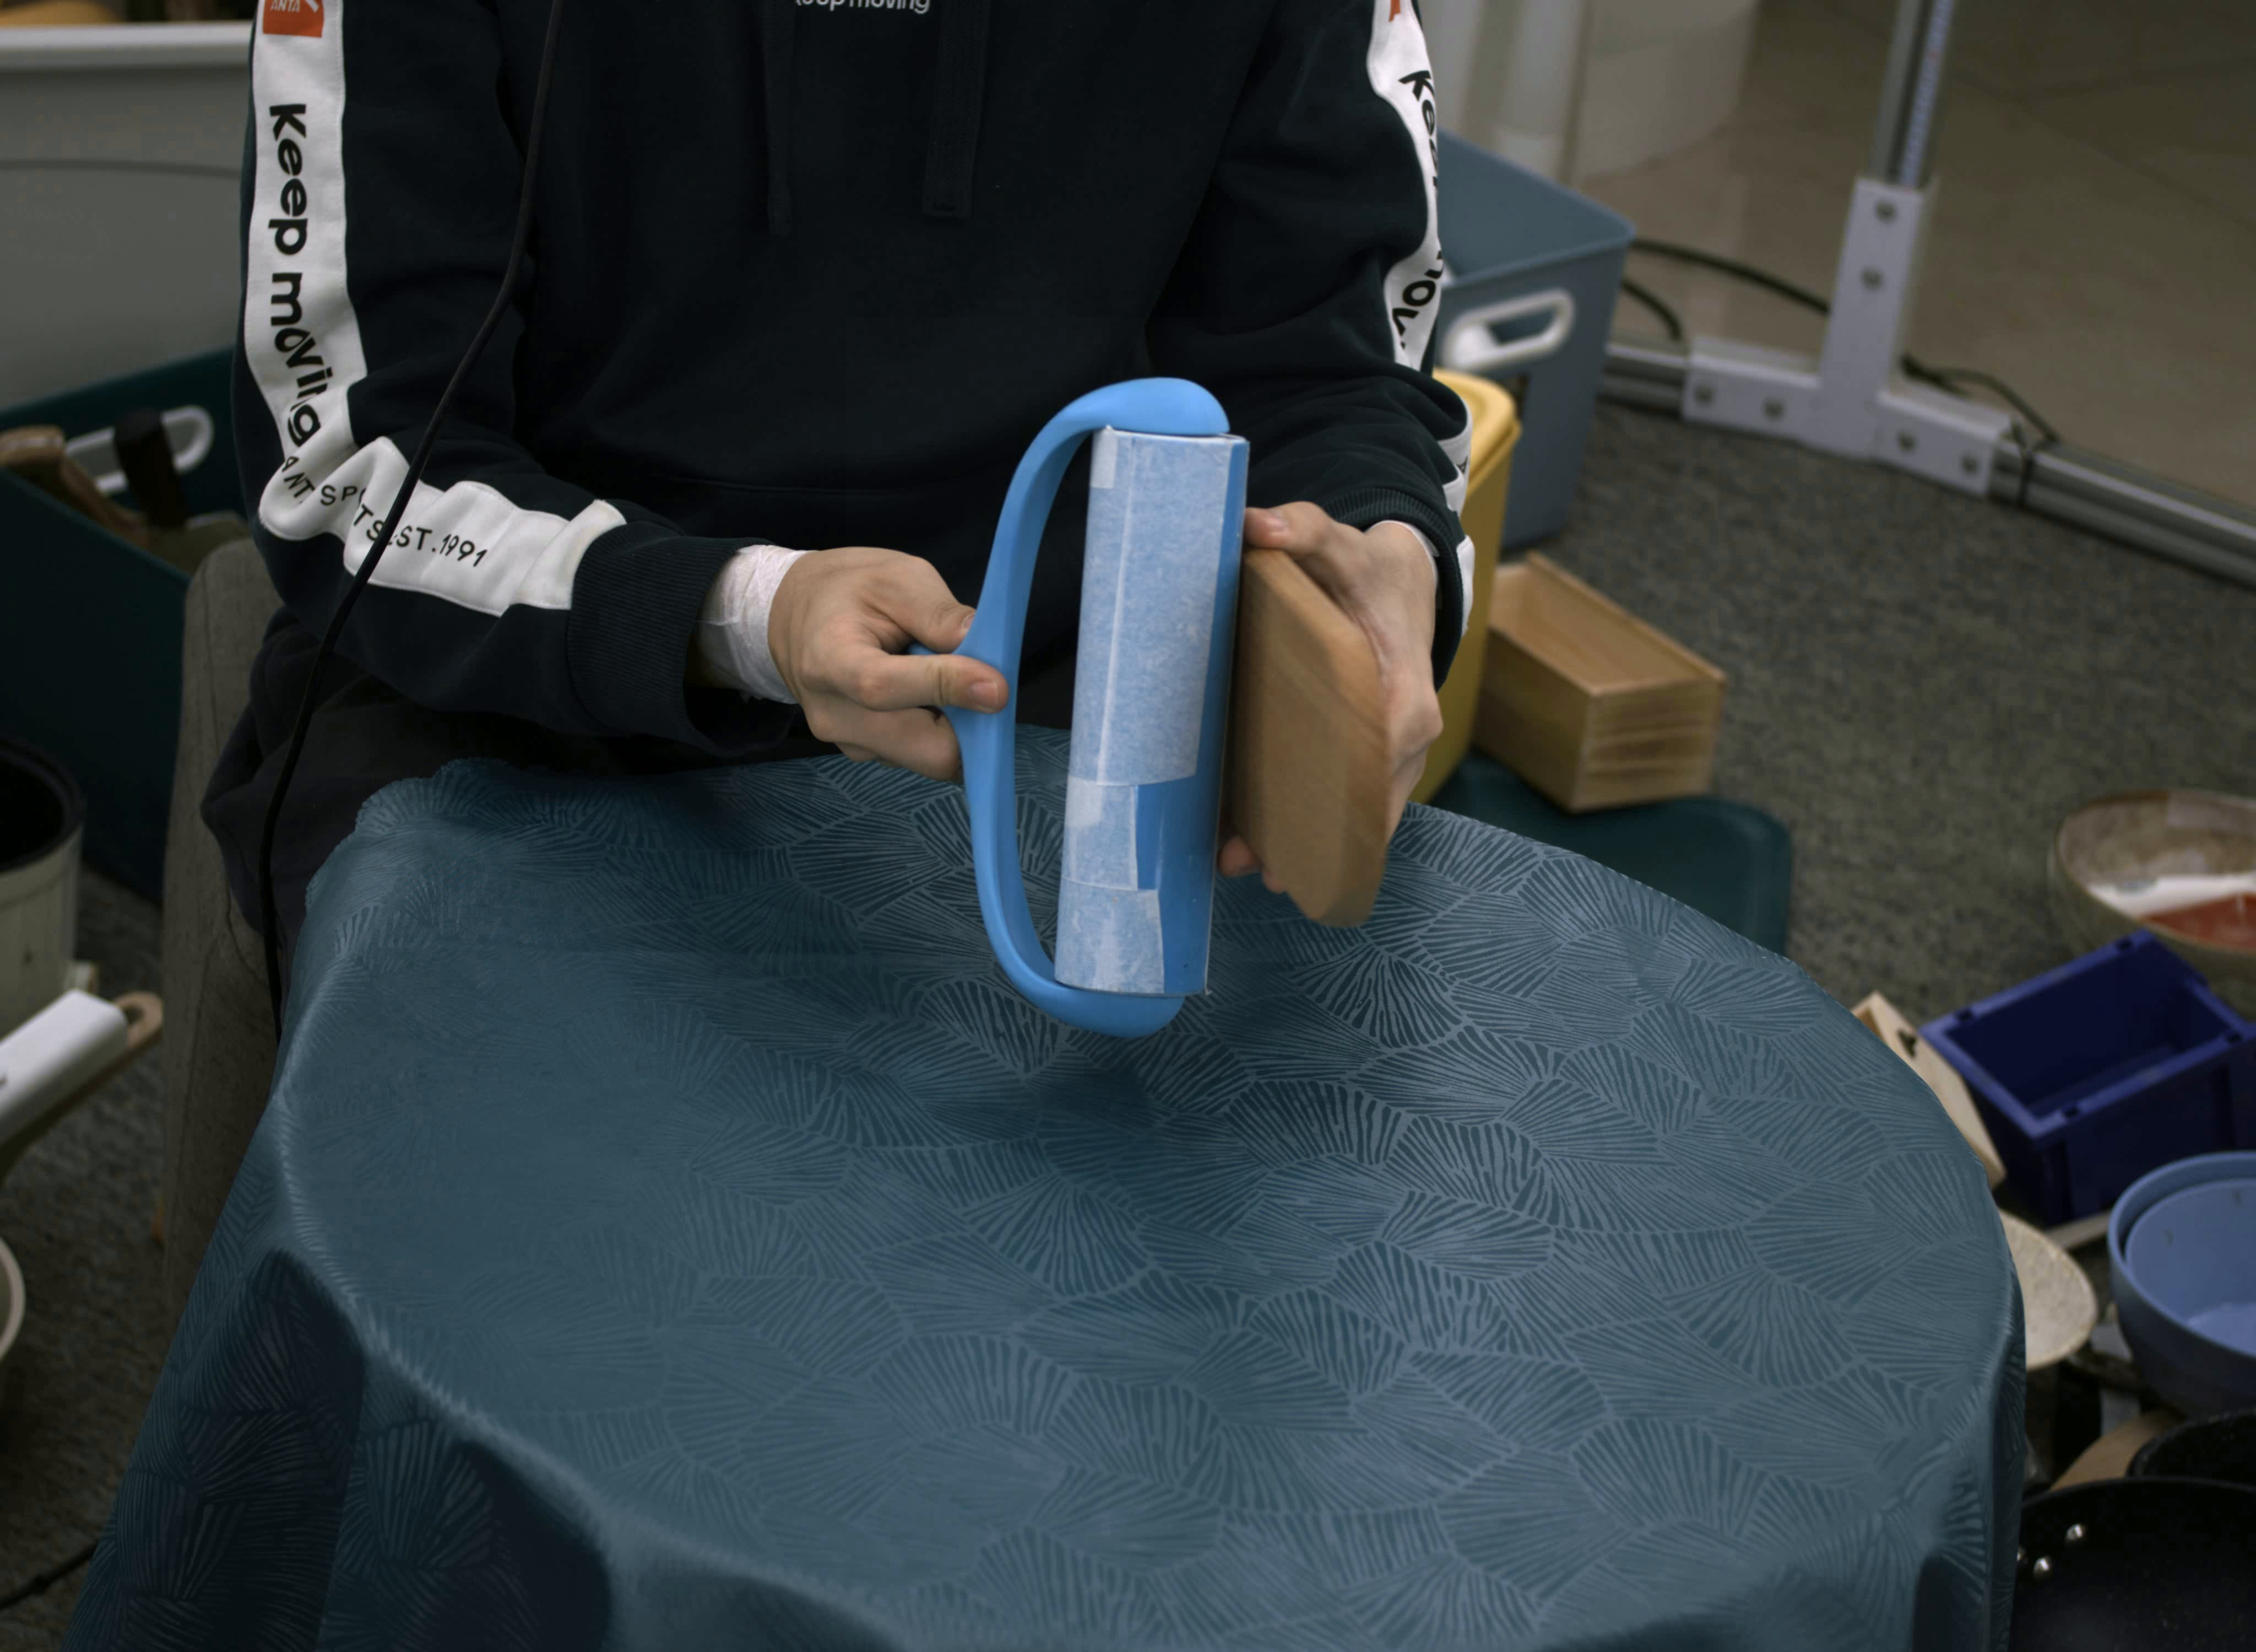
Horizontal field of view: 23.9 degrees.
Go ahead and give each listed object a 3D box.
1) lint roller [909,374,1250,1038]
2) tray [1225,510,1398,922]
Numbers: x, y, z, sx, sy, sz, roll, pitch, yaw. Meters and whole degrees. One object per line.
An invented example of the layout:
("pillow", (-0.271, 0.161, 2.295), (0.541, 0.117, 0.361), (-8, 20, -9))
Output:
("lint roller", (-0.033, -0.046, 1.875), (0.067, 0.229, 0.181), (-3, 6, -43))
("tray", (0.052, -0.040, 1.813), (0.020, 0.101, 0.233), (1, 18, -16))
